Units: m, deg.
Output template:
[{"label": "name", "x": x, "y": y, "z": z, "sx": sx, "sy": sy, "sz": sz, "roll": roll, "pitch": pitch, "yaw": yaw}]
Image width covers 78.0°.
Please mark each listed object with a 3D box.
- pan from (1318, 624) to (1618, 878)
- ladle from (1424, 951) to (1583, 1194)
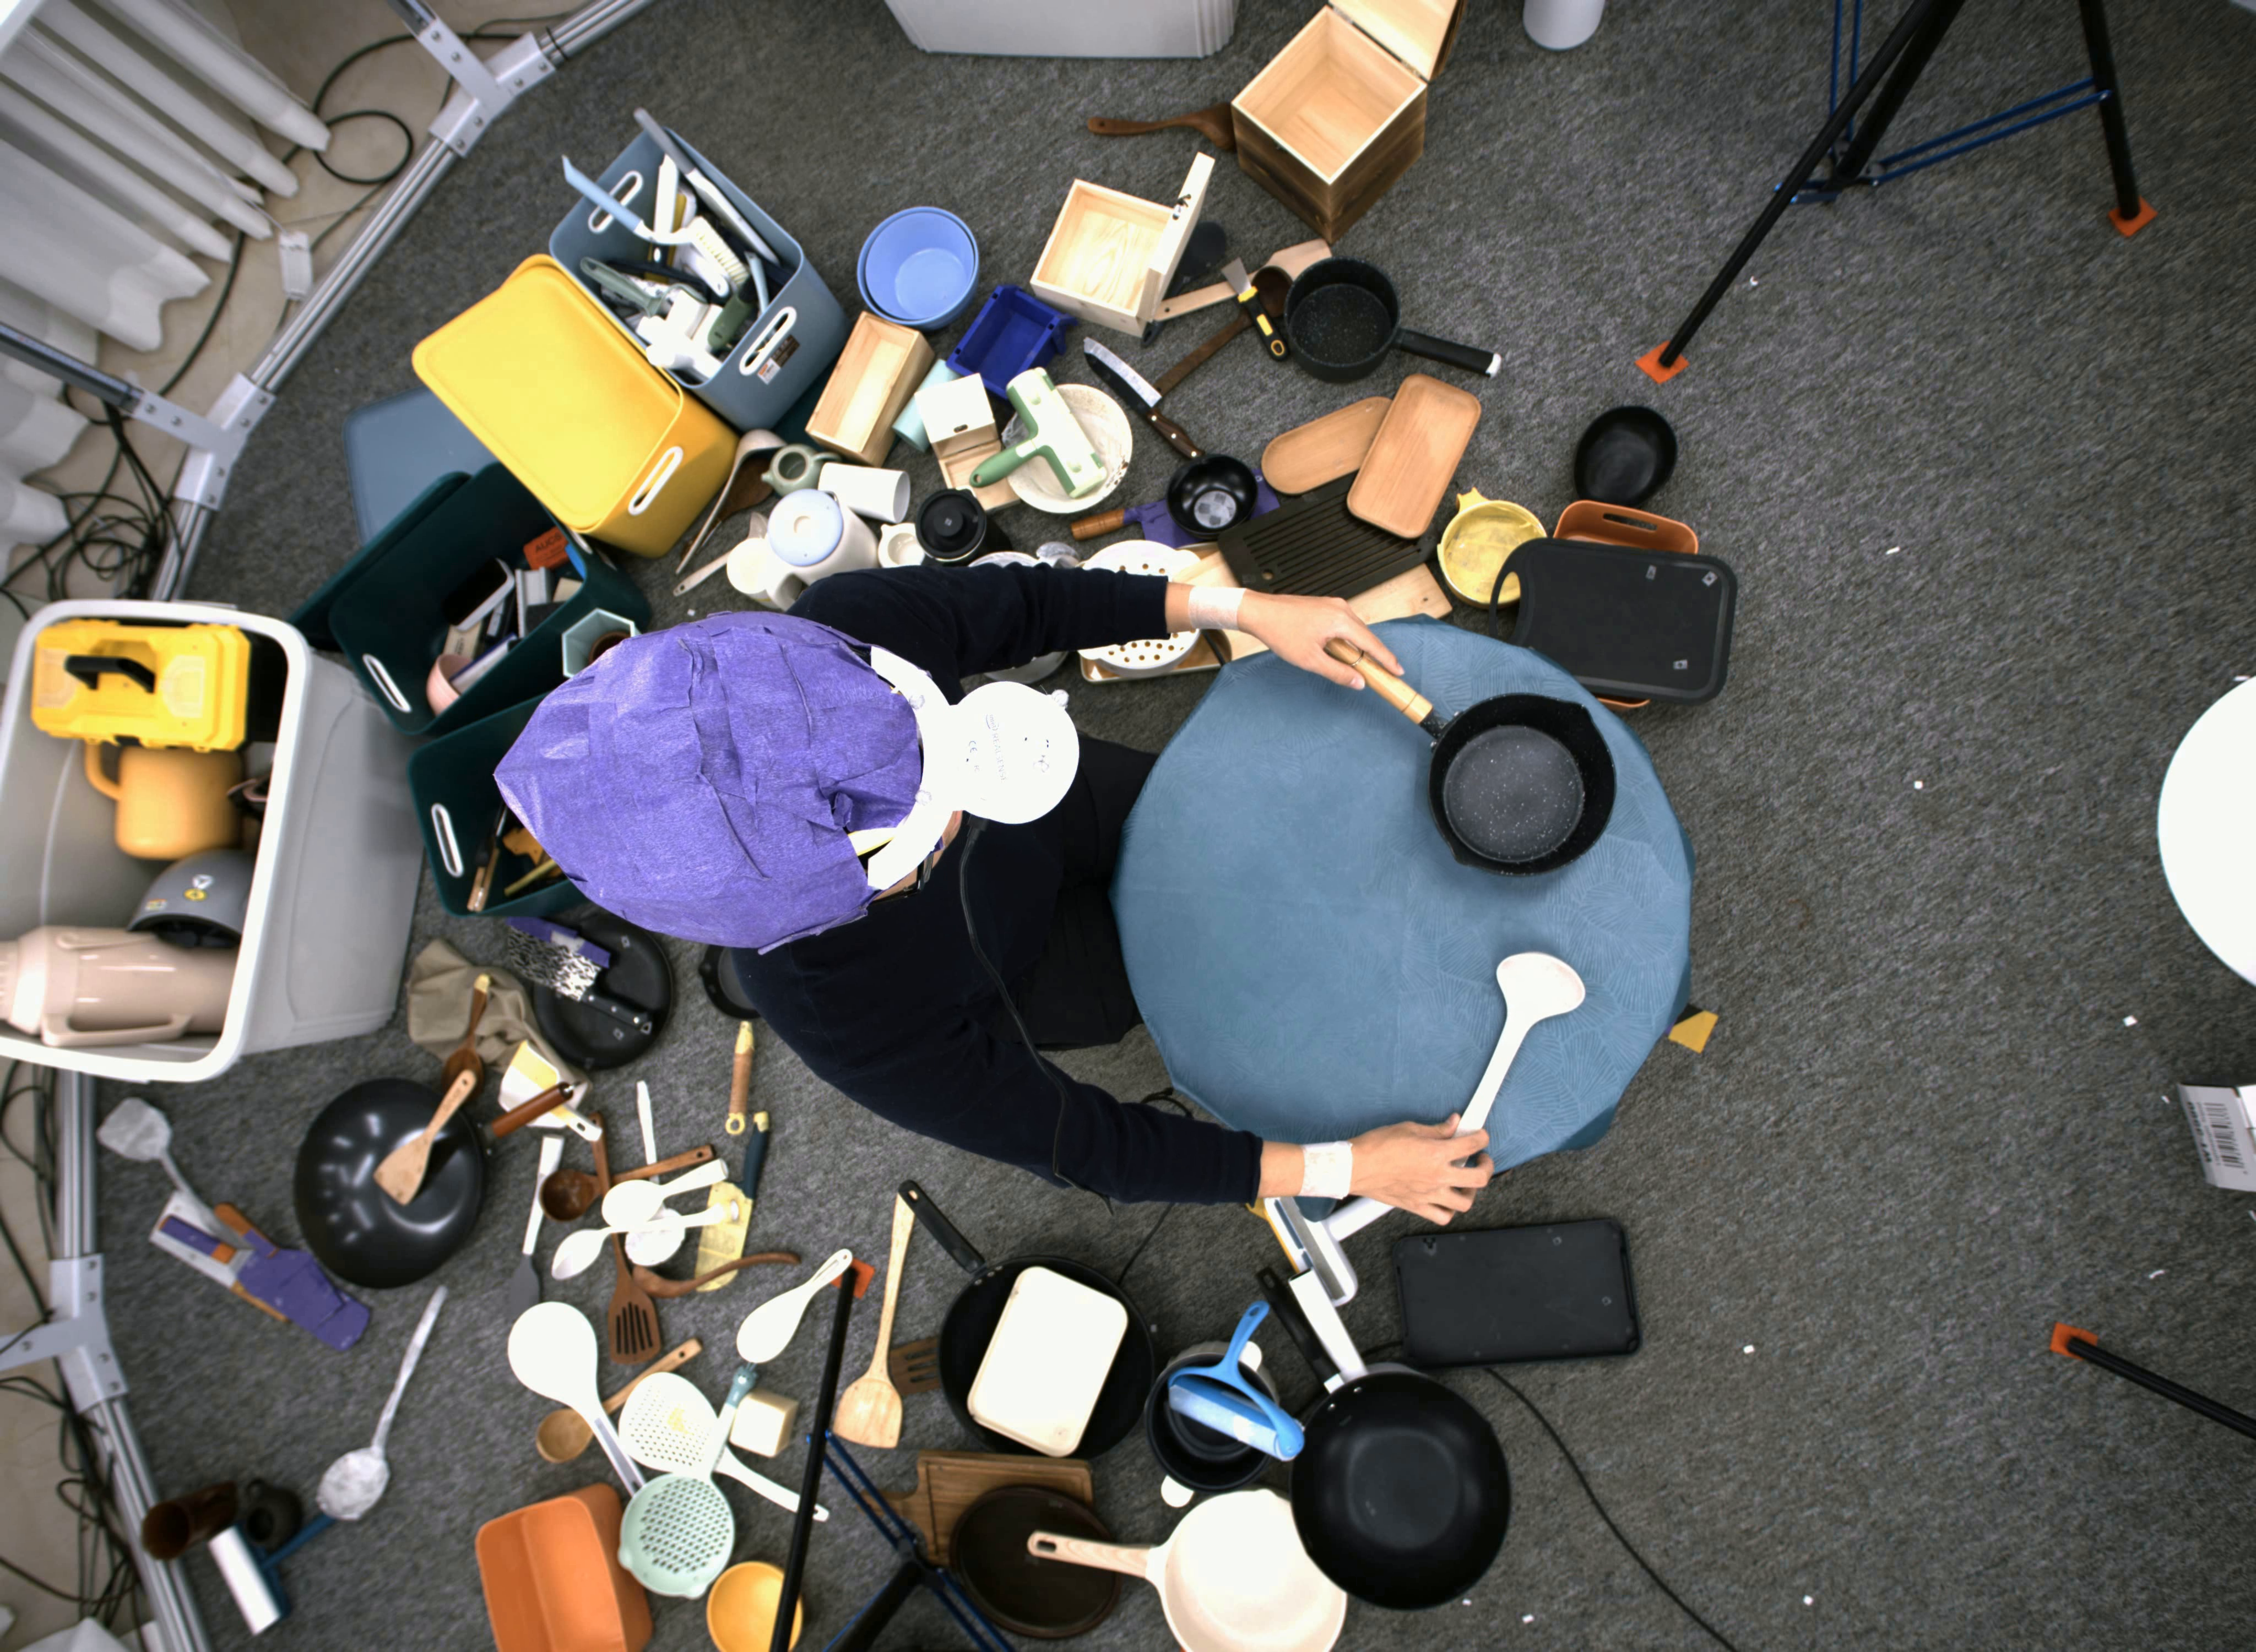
[{"label": "pan", "x": 0.333, "y": -0.088, "z": 1.402, "sx": 0.342, "sy": 0.108, "sz": 0.208, "roll": 37, "pitch": 94, "yaw": 9}, {"label": "ladle", "x": 0.369, "y": 0.253, "z": 1.398, "sx": 0.089, "sy": 0.069, "sz": 0.275, "roll": 26, "pitch": 92, "yaw": 5}]
